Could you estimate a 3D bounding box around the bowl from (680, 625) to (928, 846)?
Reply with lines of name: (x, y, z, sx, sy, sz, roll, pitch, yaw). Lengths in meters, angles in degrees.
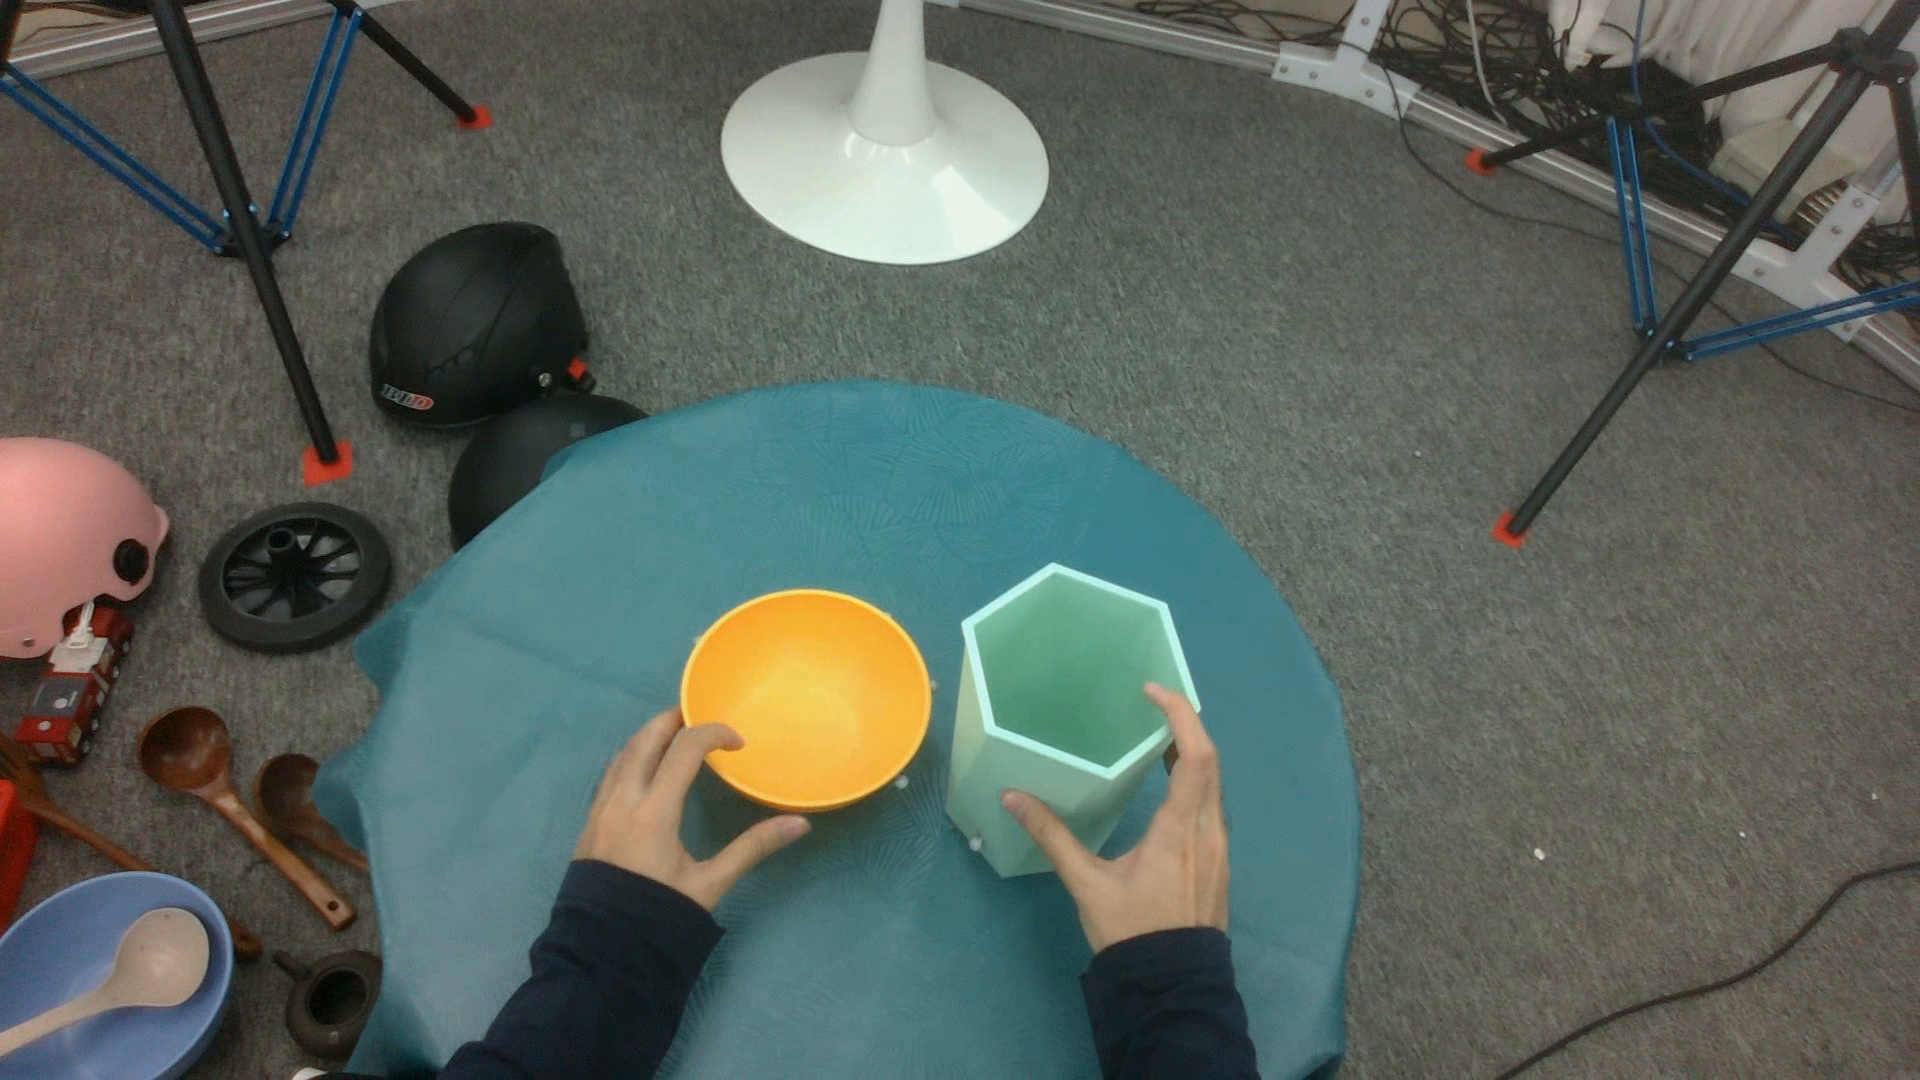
bowl: (-0.093, 0.126, 0.830, 0.145, 0.060, 0.146, 3, 53, -4)

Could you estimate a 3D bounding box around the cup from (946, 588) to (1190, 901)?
cup: (0.049, 0.125, 0.782, 0.131, 0.162, 0.116, 17, 52, 6)
